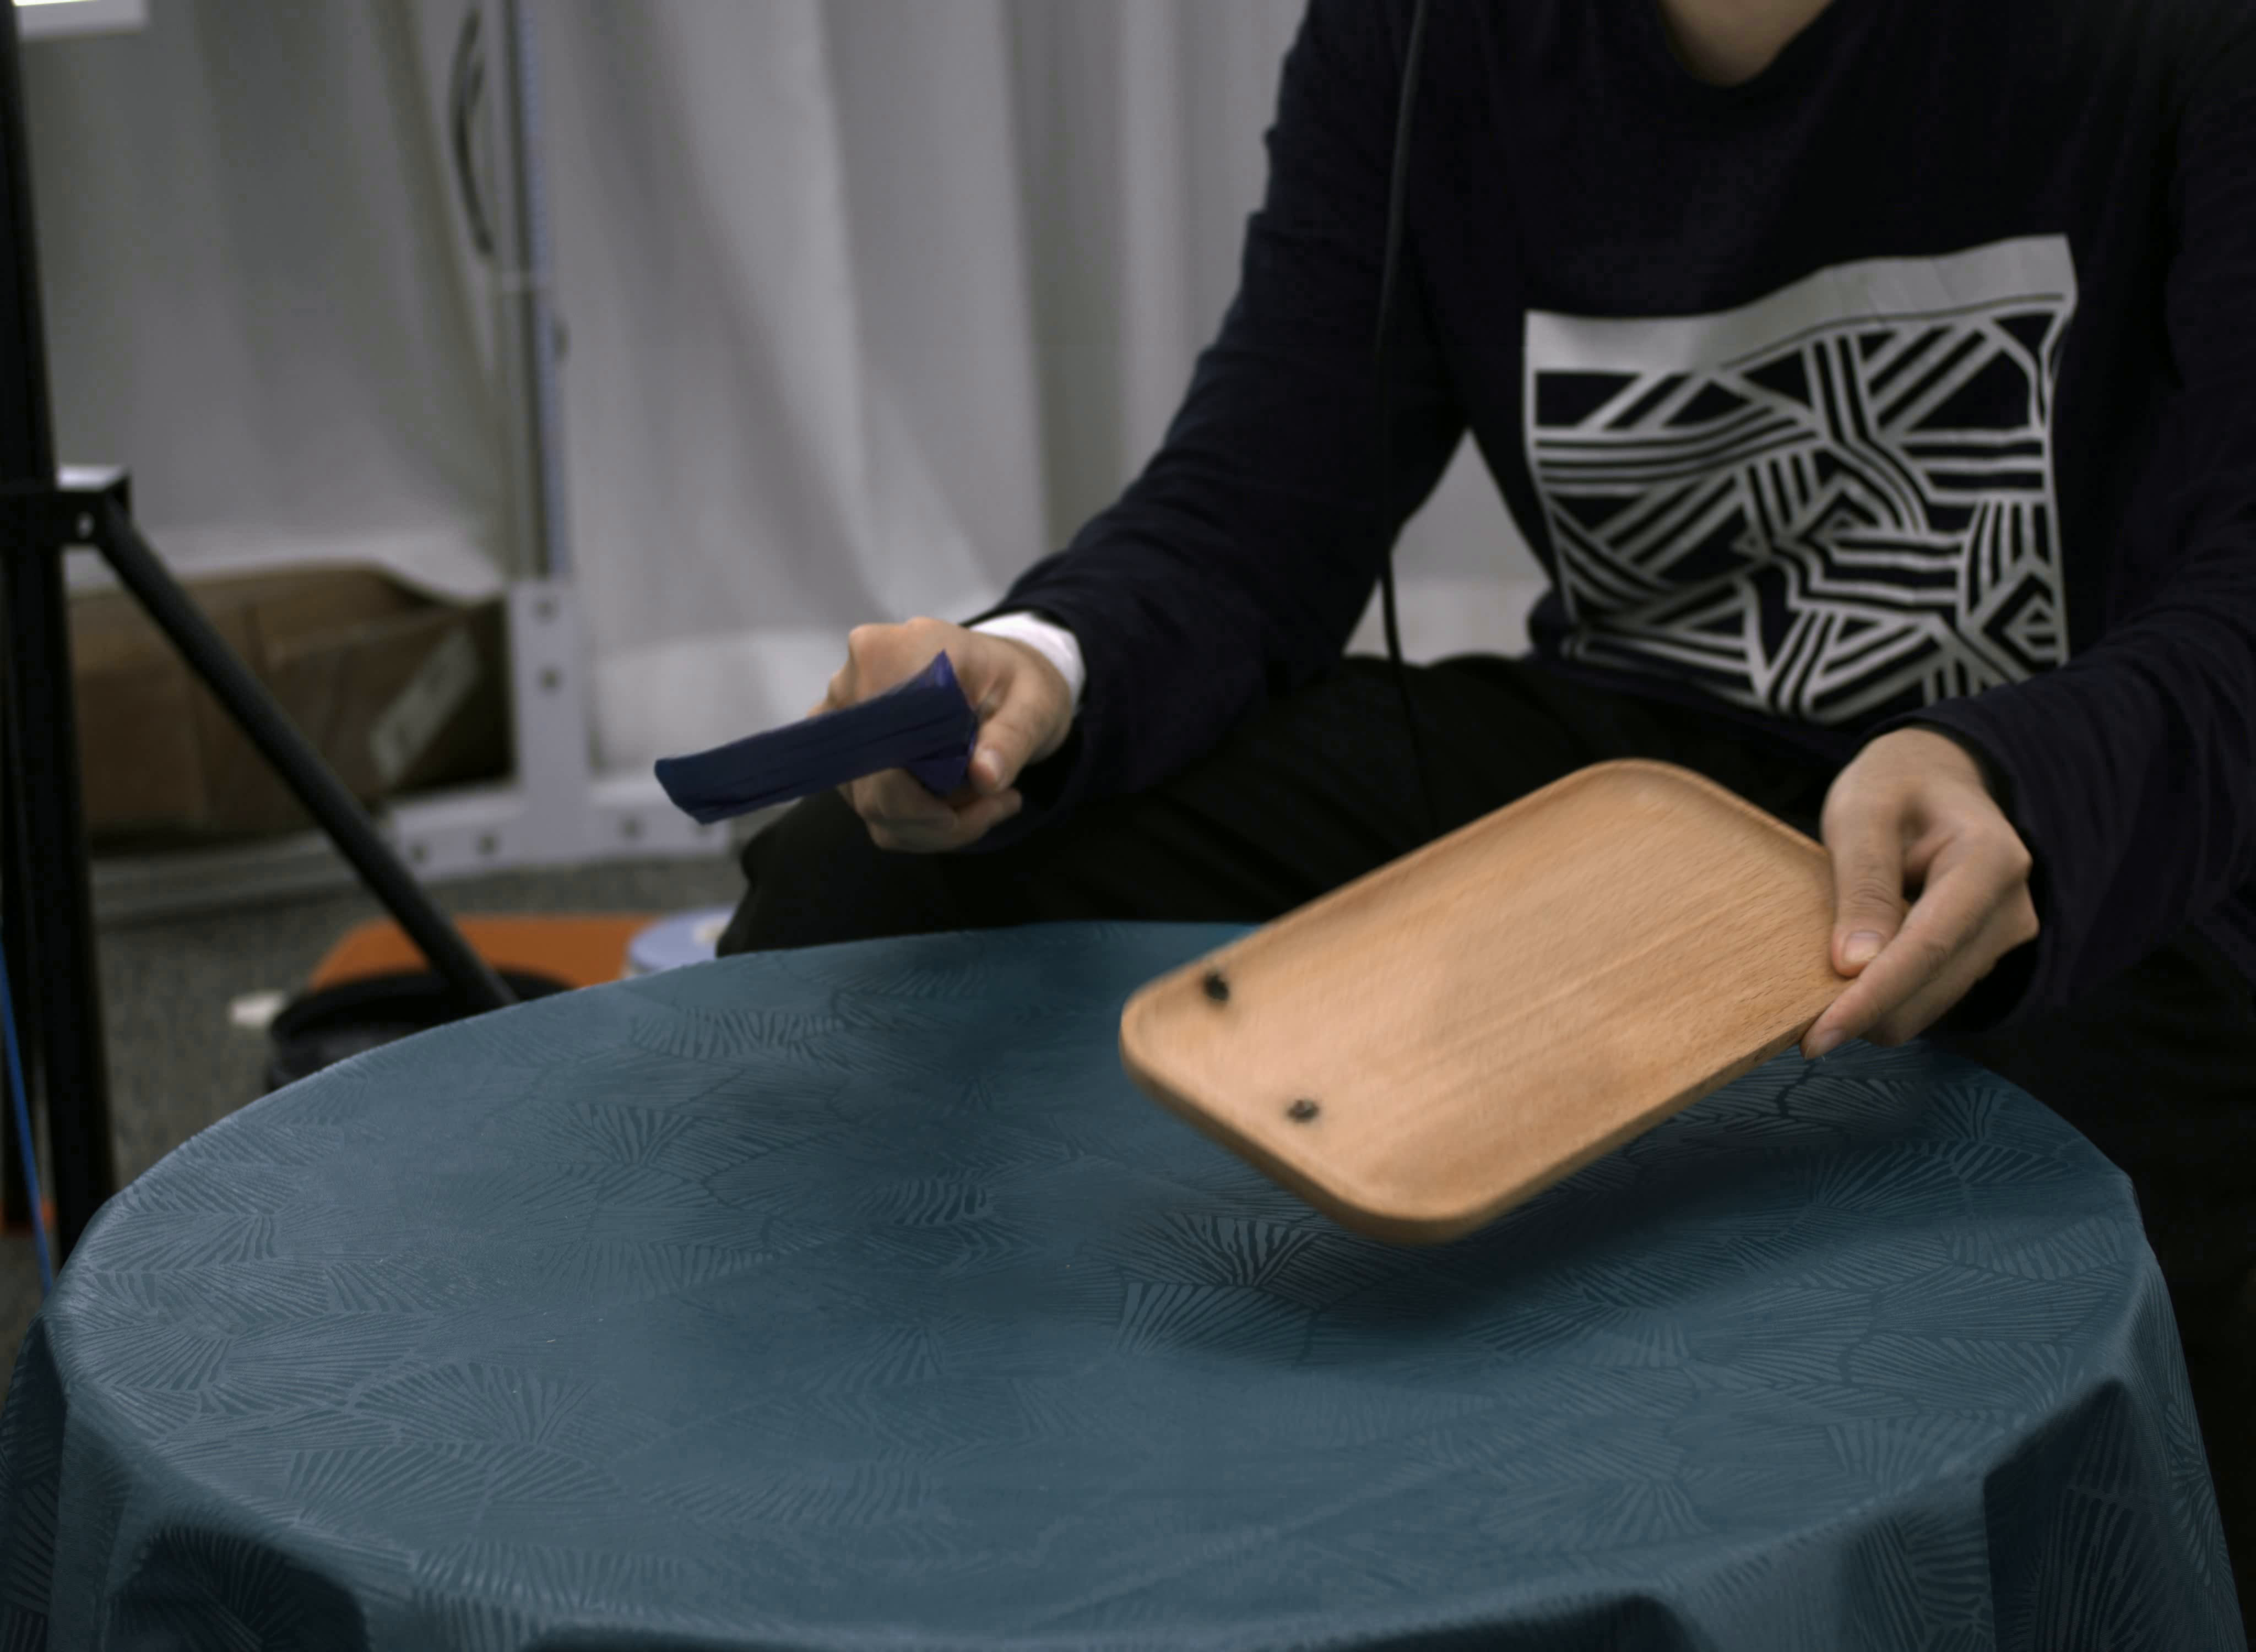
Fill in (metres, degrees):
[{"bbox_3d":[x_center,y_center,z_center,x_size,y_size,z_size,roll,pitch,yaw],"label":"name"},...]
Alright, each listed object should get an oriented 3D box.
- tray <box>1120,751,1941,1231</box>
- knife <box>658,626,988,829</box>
[{"bbox_3d":[0.118,0.045,1.528,0.245,0.023,0.133,-20,46,-37],"label":"tray"},{"bbox_3d":[-0.092,-0.024,1.657,0.103,0.032,0.314,-16,-7,-3],"label":"knife"}]
